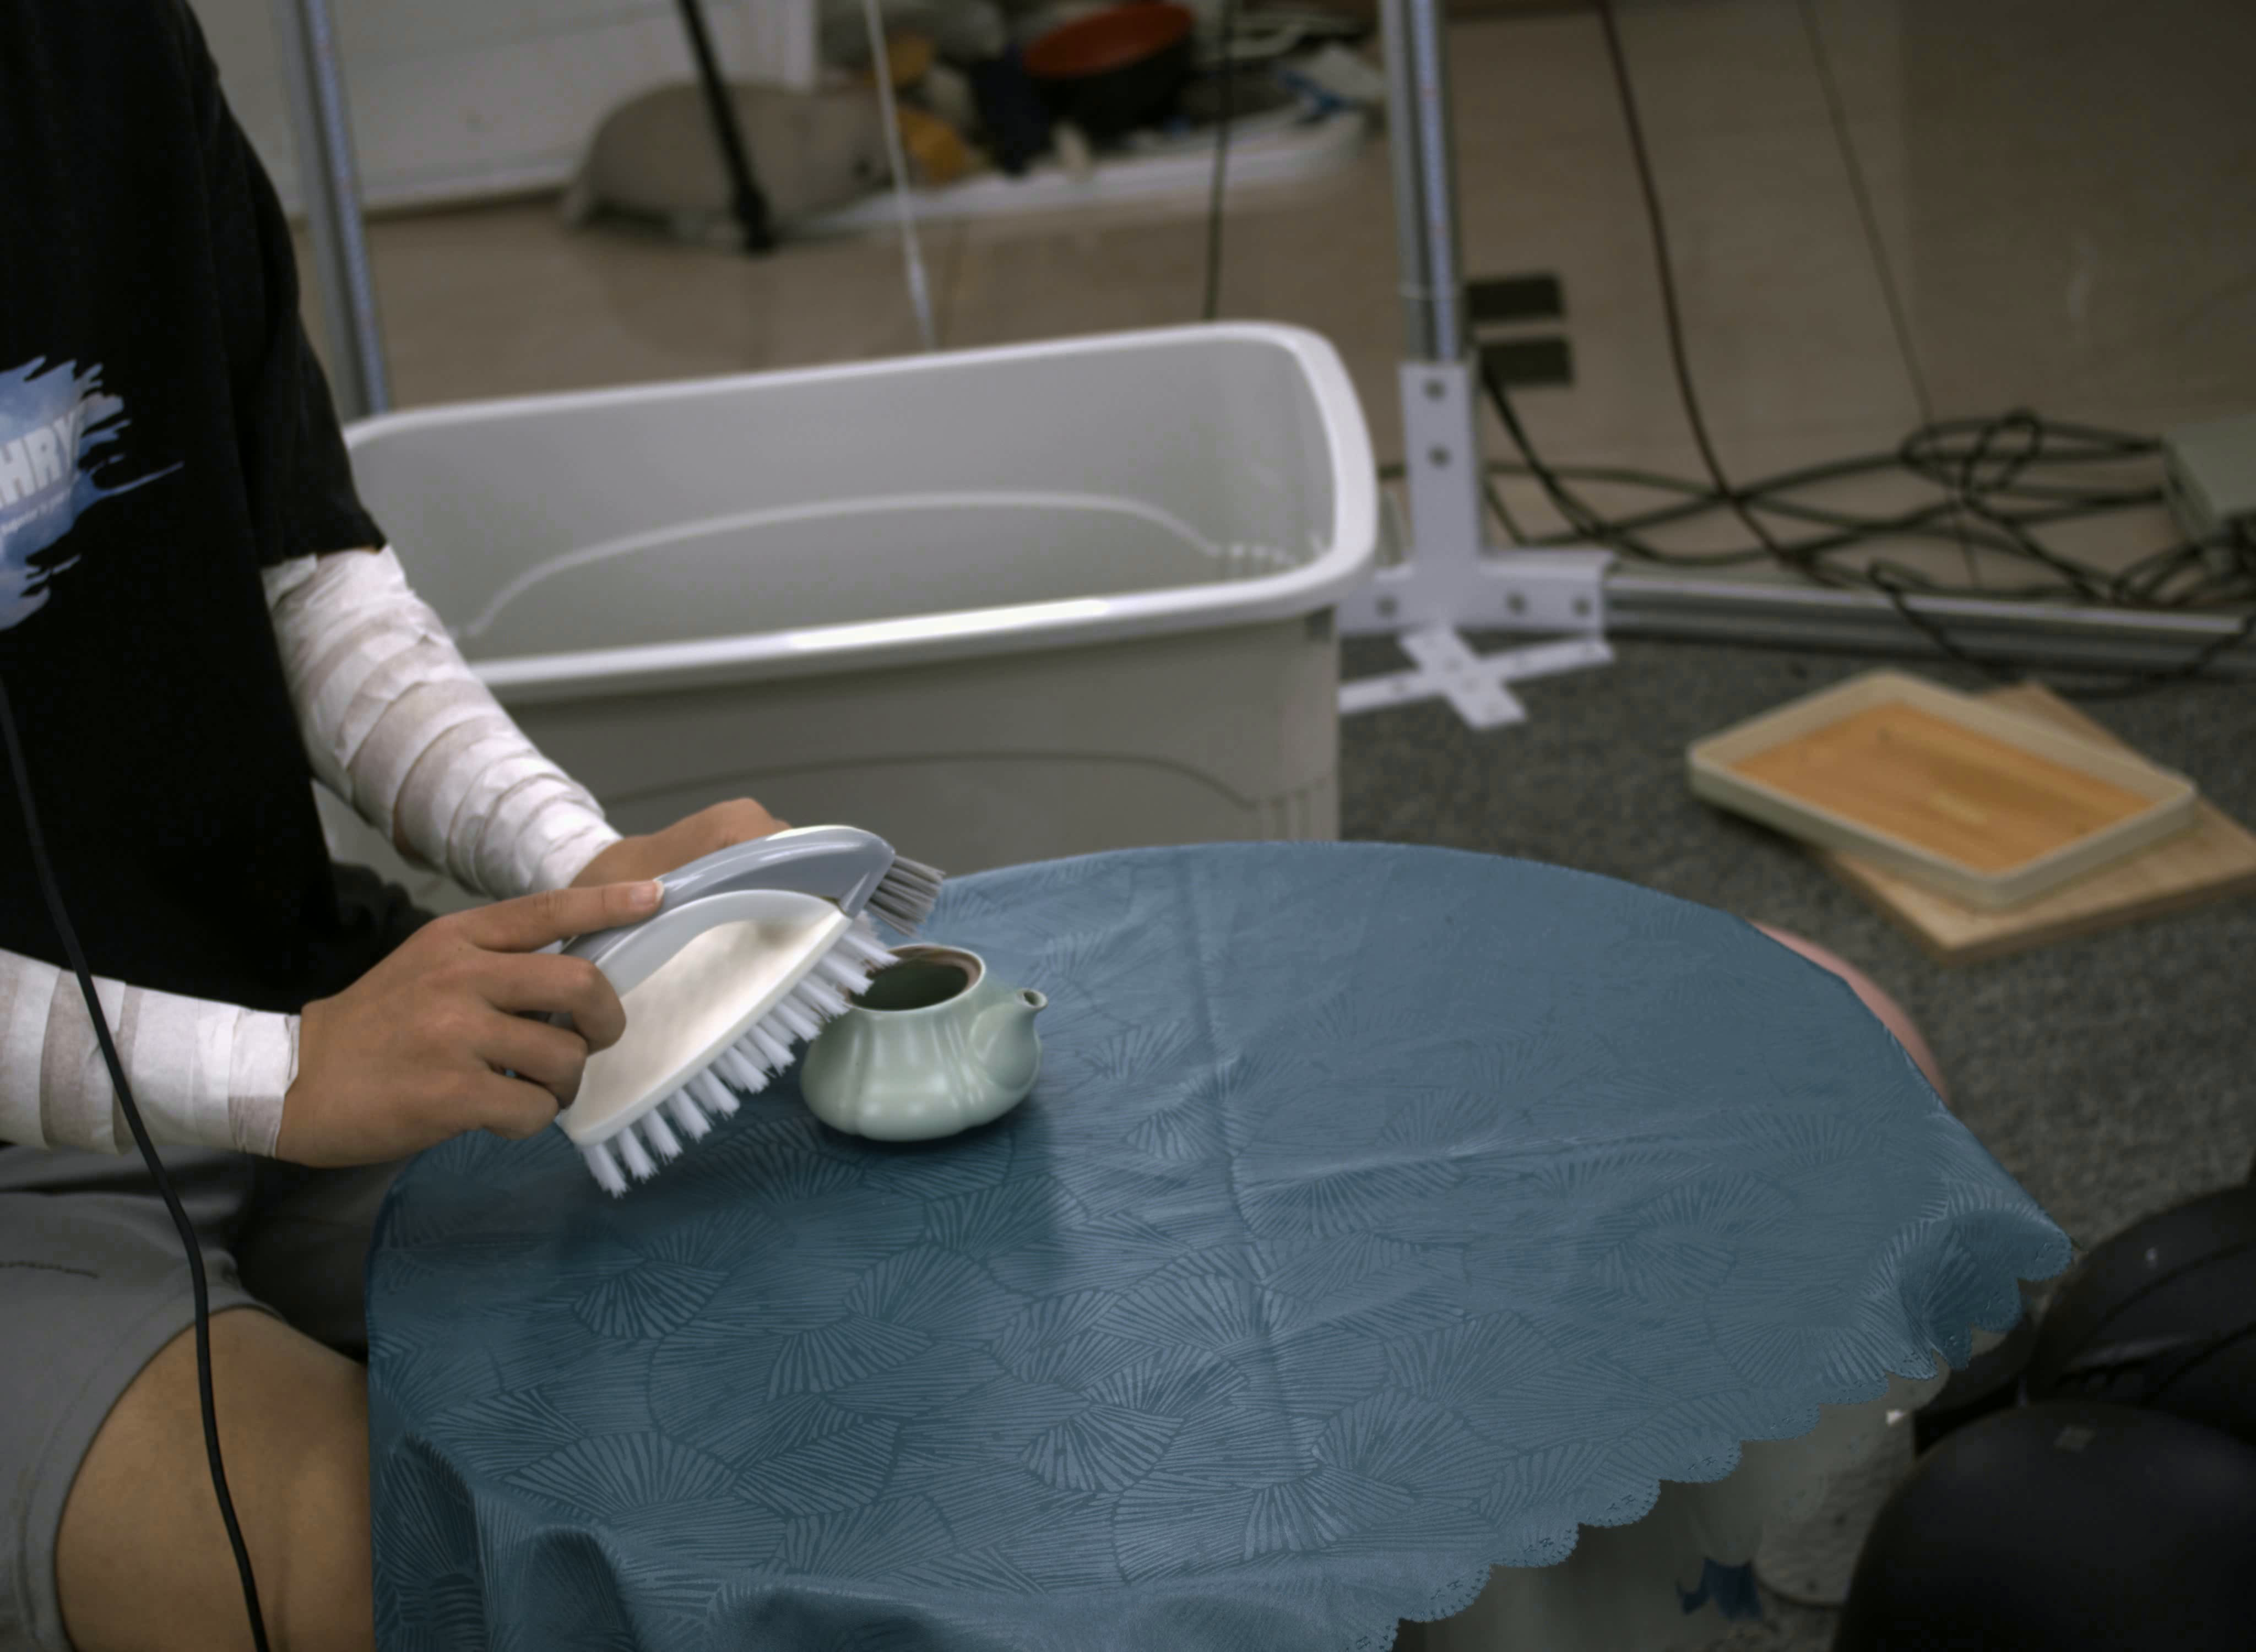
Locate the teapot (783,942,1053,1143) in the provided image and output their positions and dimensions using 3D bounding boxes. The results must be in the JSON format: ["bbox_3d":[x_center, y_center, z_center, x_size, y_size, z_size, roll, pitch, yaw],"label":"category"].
[{"bbox_3d":[-0.086,0.082,2.219,0.136,0.062,0.095,9,31,30],"label":"teapot"}]

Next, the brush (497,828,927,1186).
[{"bbox_3d":[-0.163,0.051,2.164,0.175,0.096,0.060,-36,46,-1],"label":"brush"}]
